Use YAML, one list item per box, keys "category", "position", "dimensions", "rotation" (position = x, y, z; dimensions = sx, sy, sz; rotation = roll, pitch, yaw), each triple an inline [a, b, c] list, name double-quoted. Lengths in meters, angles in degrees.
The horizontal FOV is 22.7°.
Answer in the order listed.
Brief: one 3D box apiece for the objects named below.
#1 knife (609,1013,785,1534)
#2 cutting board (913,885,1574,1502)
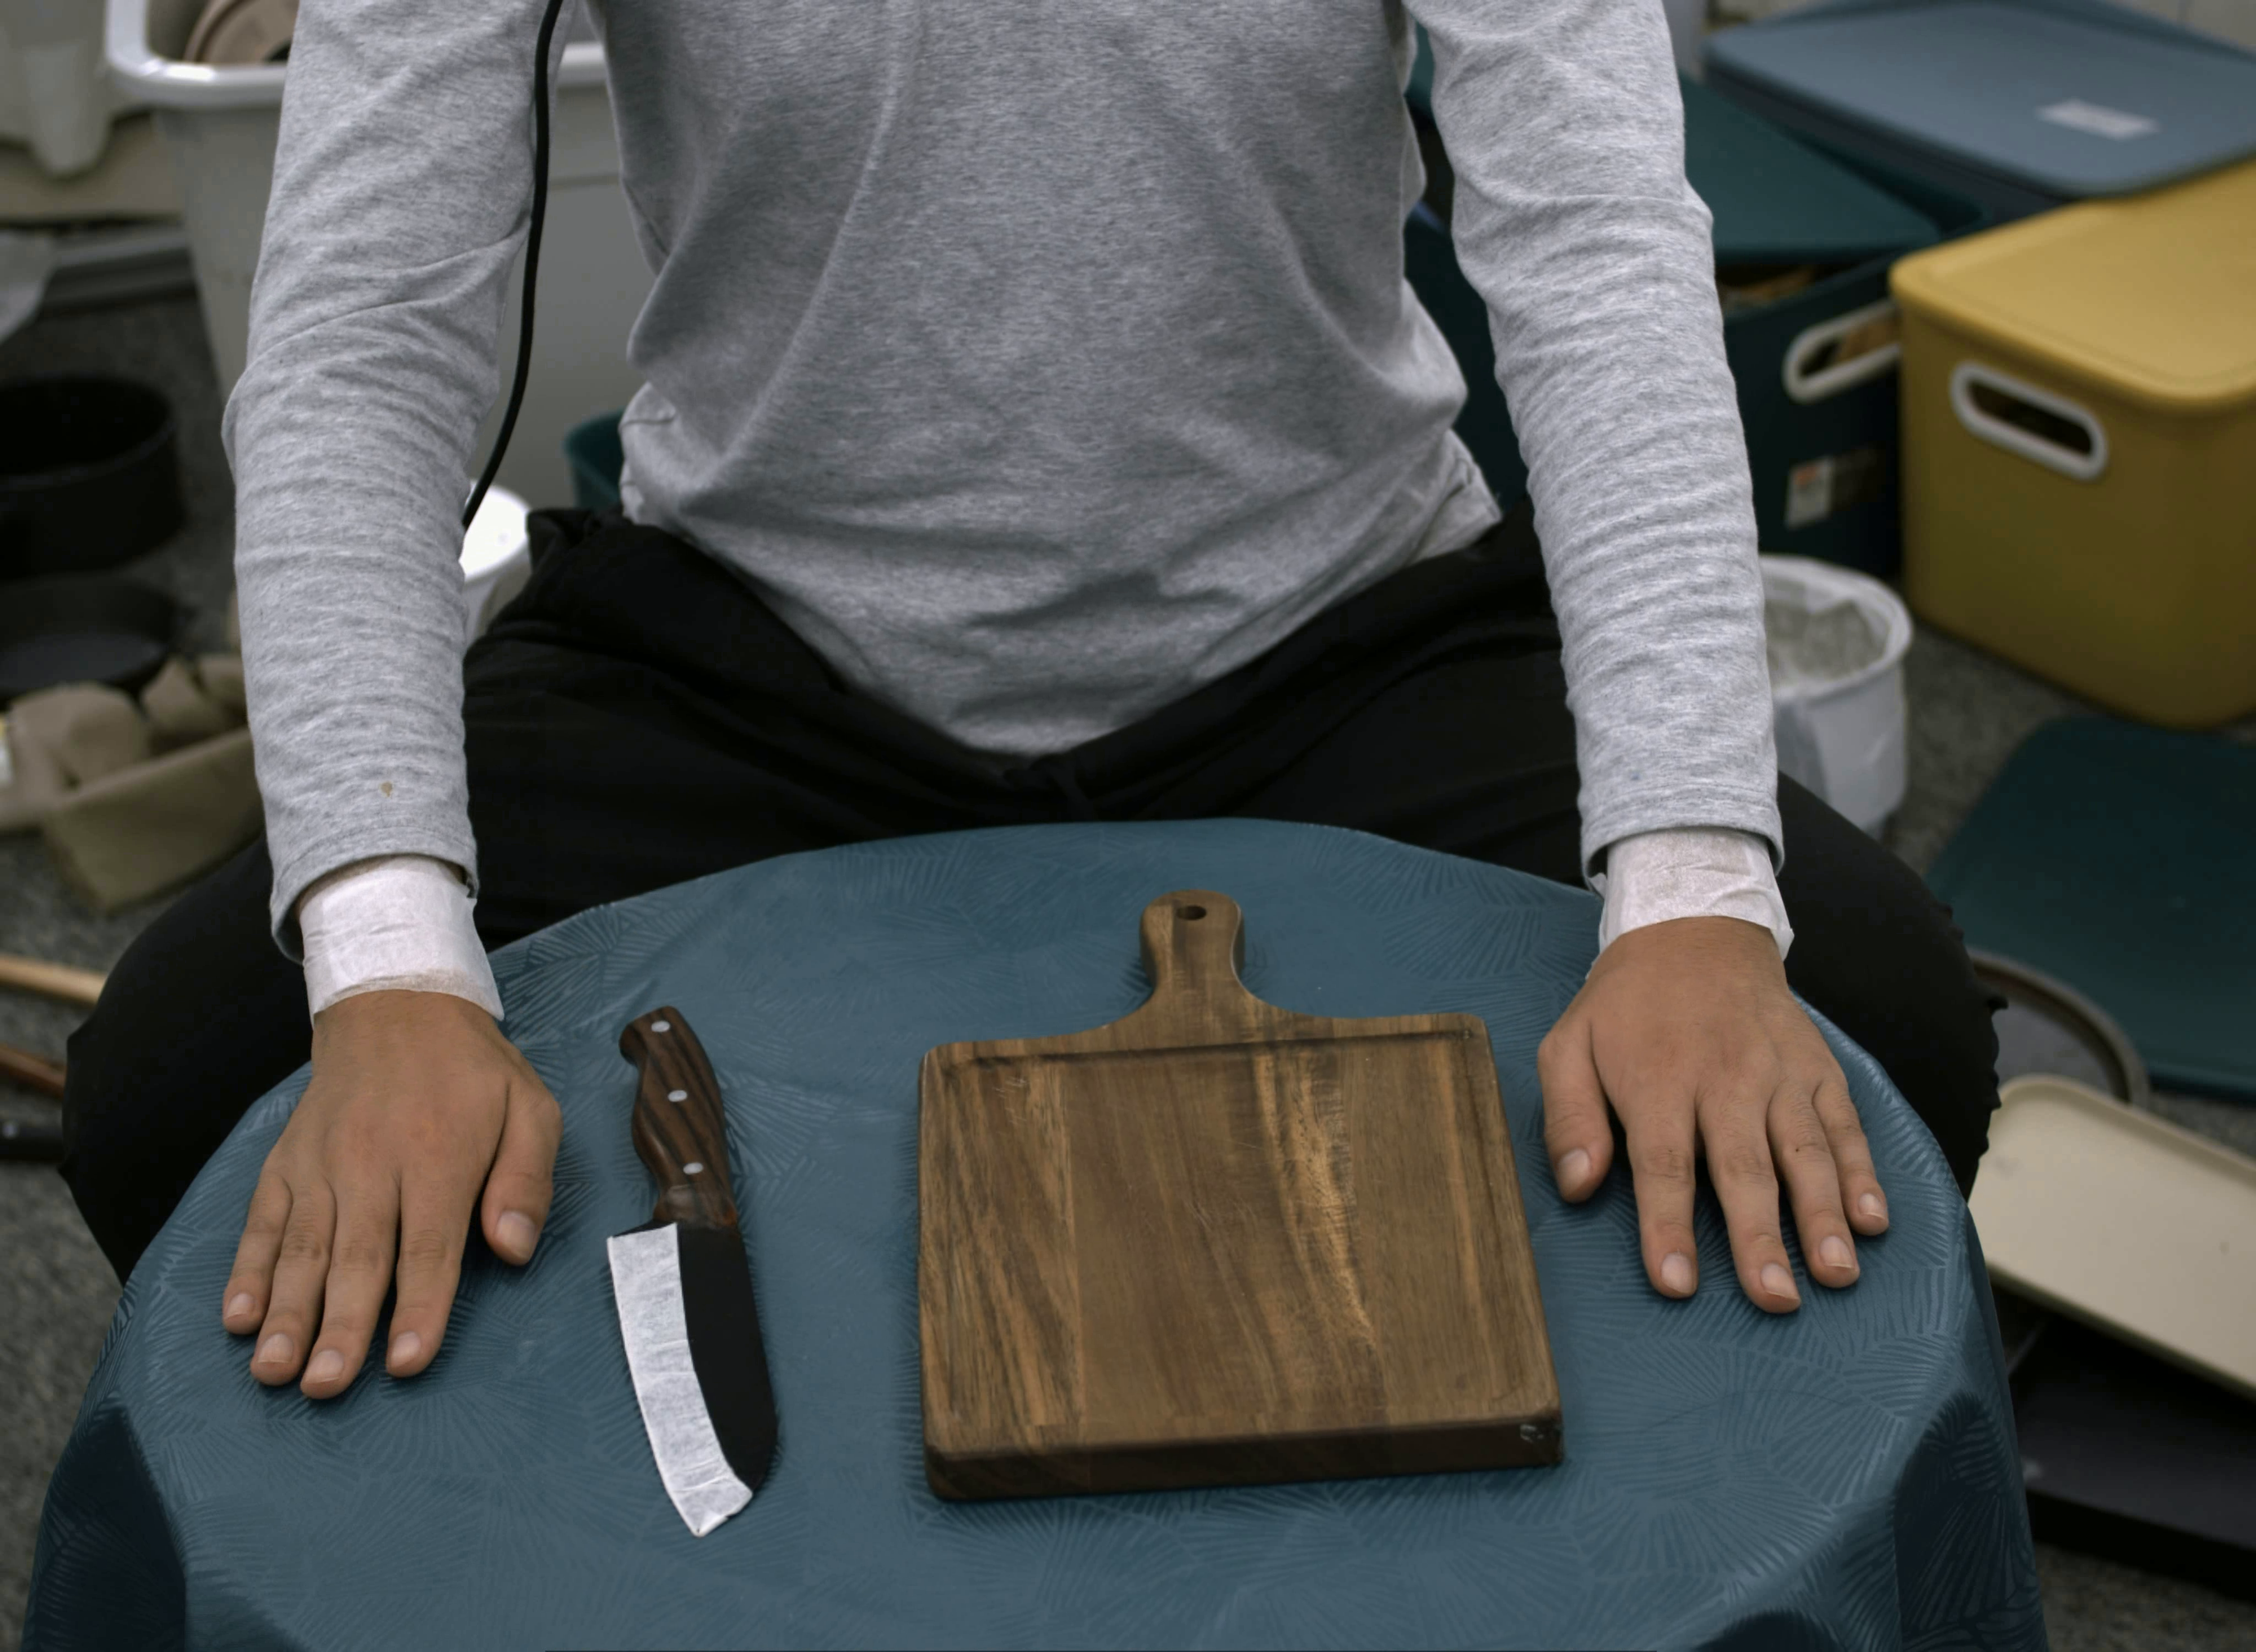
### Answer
- category: "knife"
  position: [-0.143, 0.143, 1.818]
  dimensions: [0.050, 0.020, 0.293]
  rotation: [-11, 30, -3]
- category: "cutting board"
  position: [0.029, 0.111, 1.857]
  dimensions: [0.200, 0.023, 0.357]
  rotation: [-3, 27, -1]
